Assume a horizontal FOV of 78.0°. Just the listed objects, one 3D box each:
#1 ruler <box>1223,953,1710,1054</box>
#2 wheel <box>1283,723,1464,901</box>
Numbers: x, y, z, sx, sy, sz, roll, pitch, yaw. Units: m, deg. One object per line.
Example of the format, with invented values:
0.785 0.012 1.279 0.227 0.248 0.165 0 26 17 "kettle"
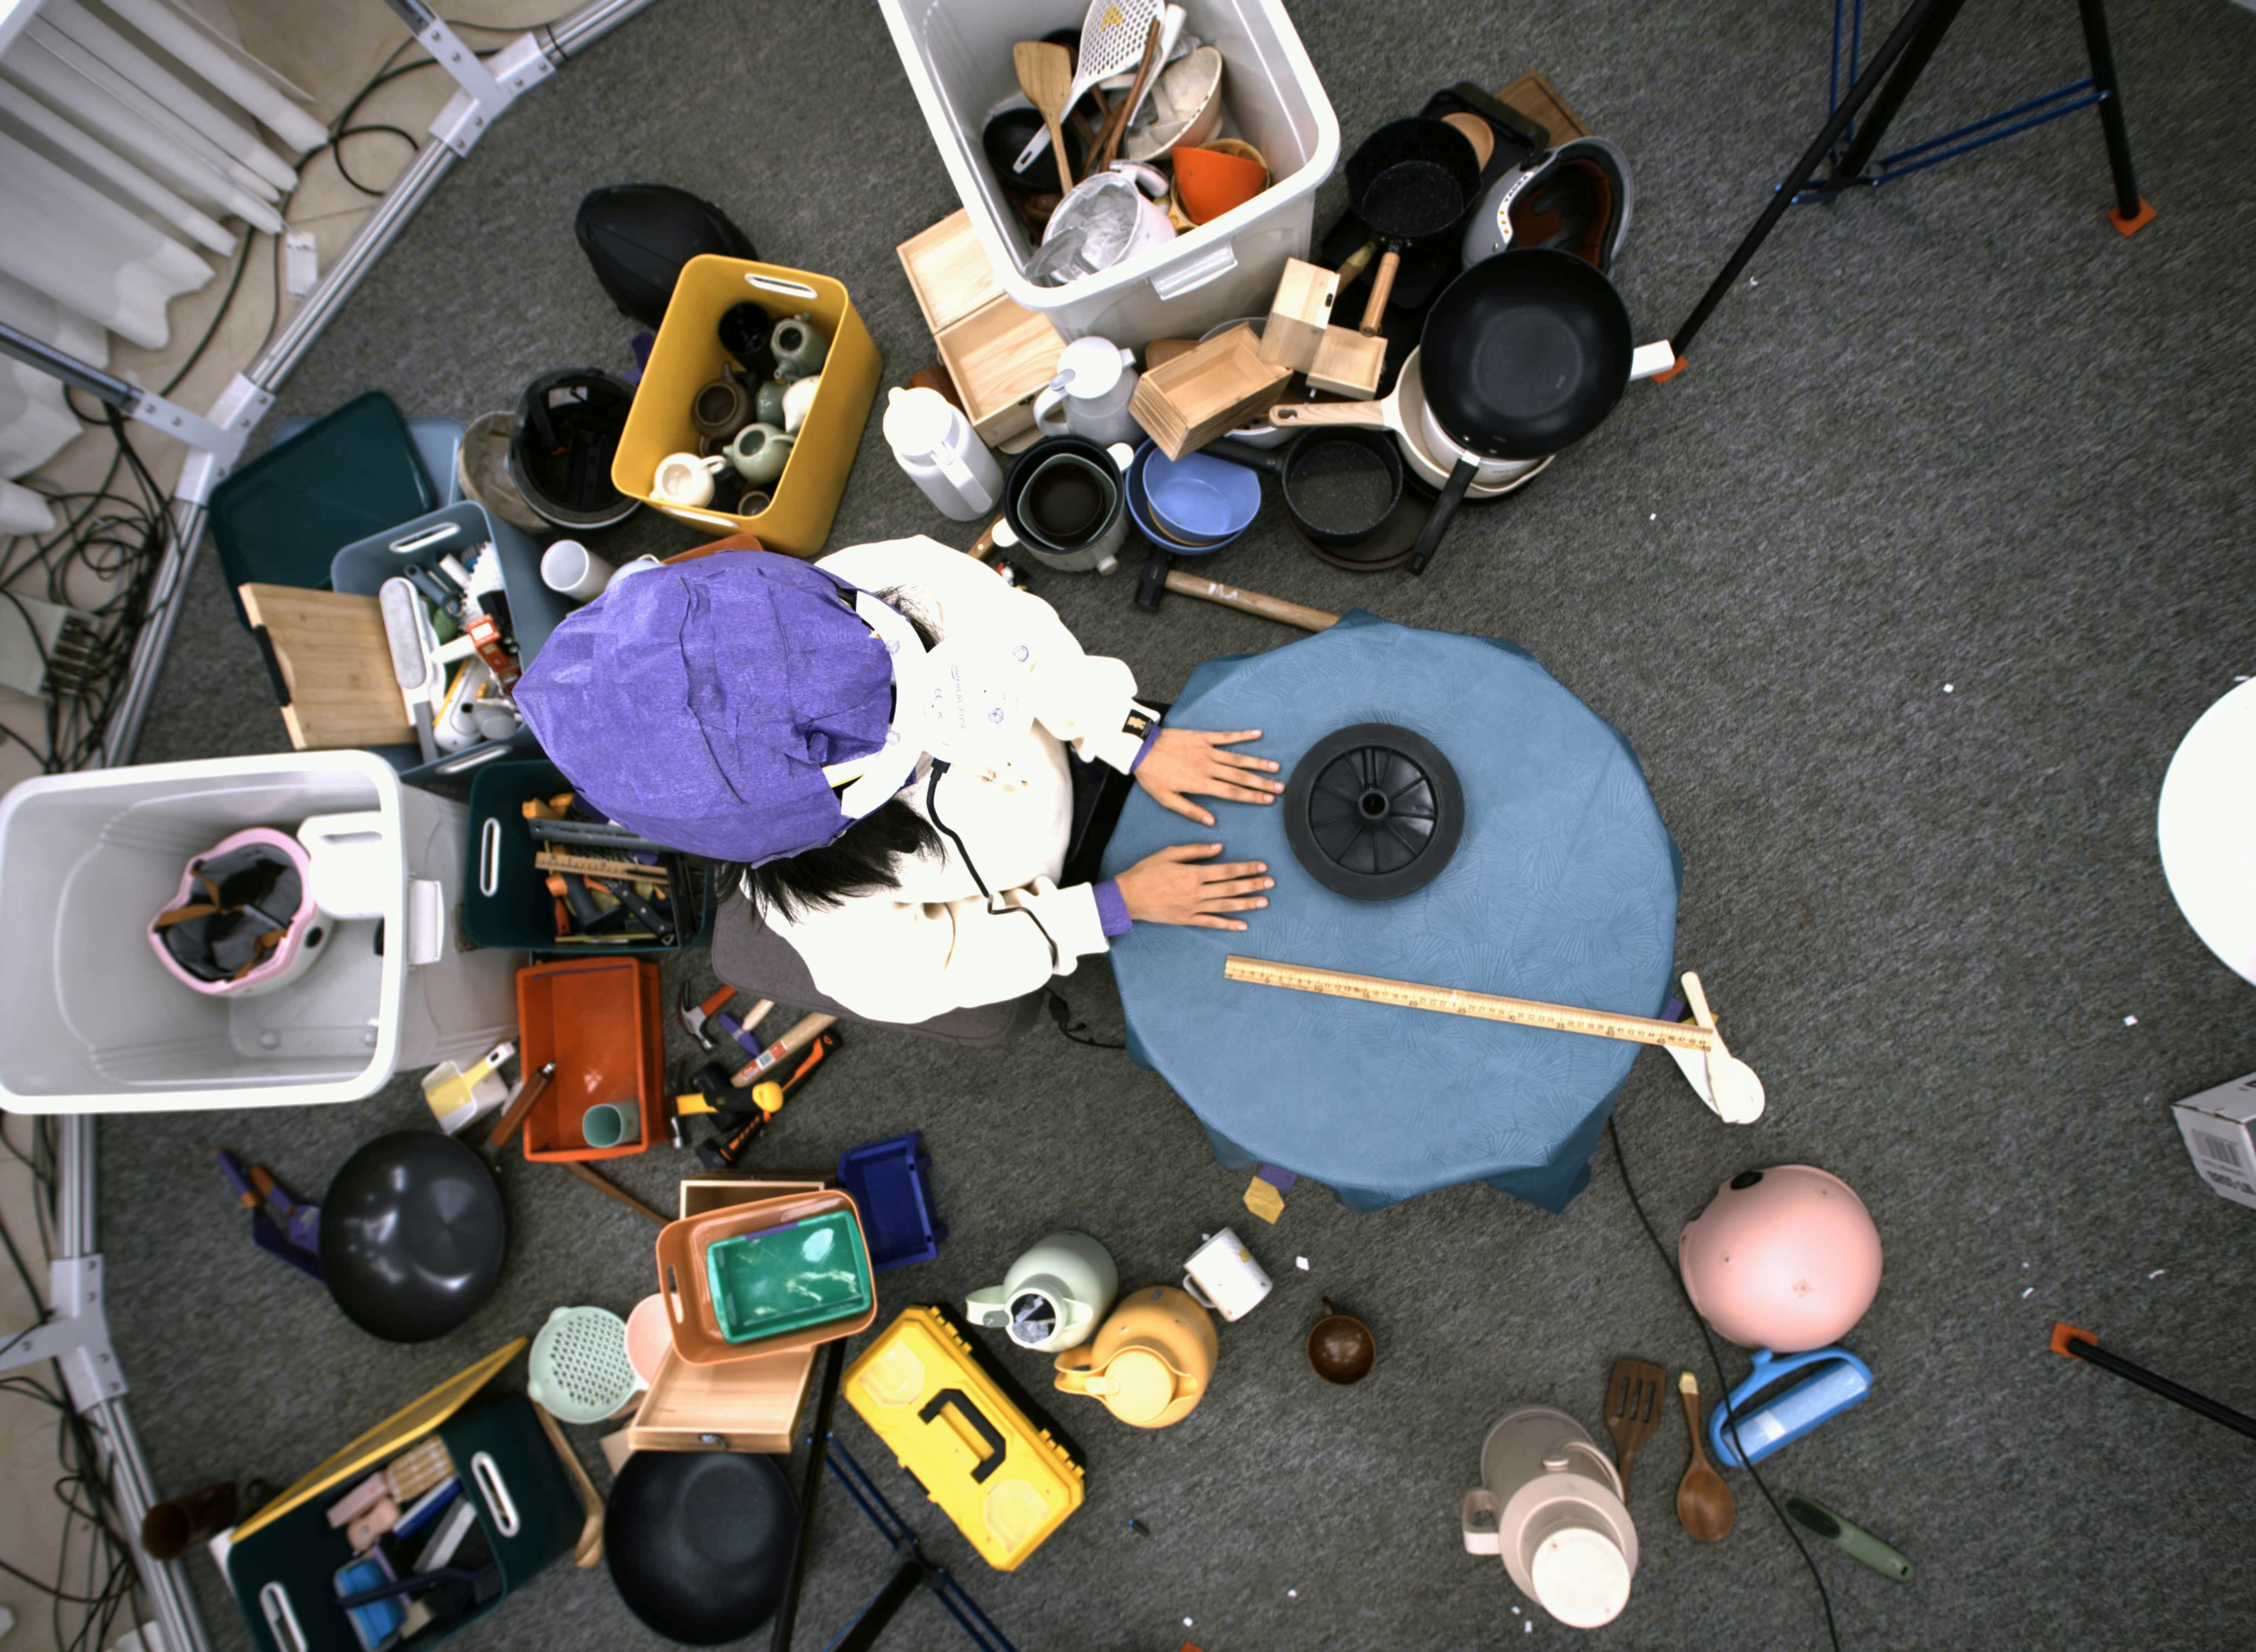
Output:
0.347 0.182 1.437 0.502 0.006 0.027 8 89 11 "ruler"
0.254 -0.019 1.430 0.188 0.079 0.188 -27 81 8 "wheel"
